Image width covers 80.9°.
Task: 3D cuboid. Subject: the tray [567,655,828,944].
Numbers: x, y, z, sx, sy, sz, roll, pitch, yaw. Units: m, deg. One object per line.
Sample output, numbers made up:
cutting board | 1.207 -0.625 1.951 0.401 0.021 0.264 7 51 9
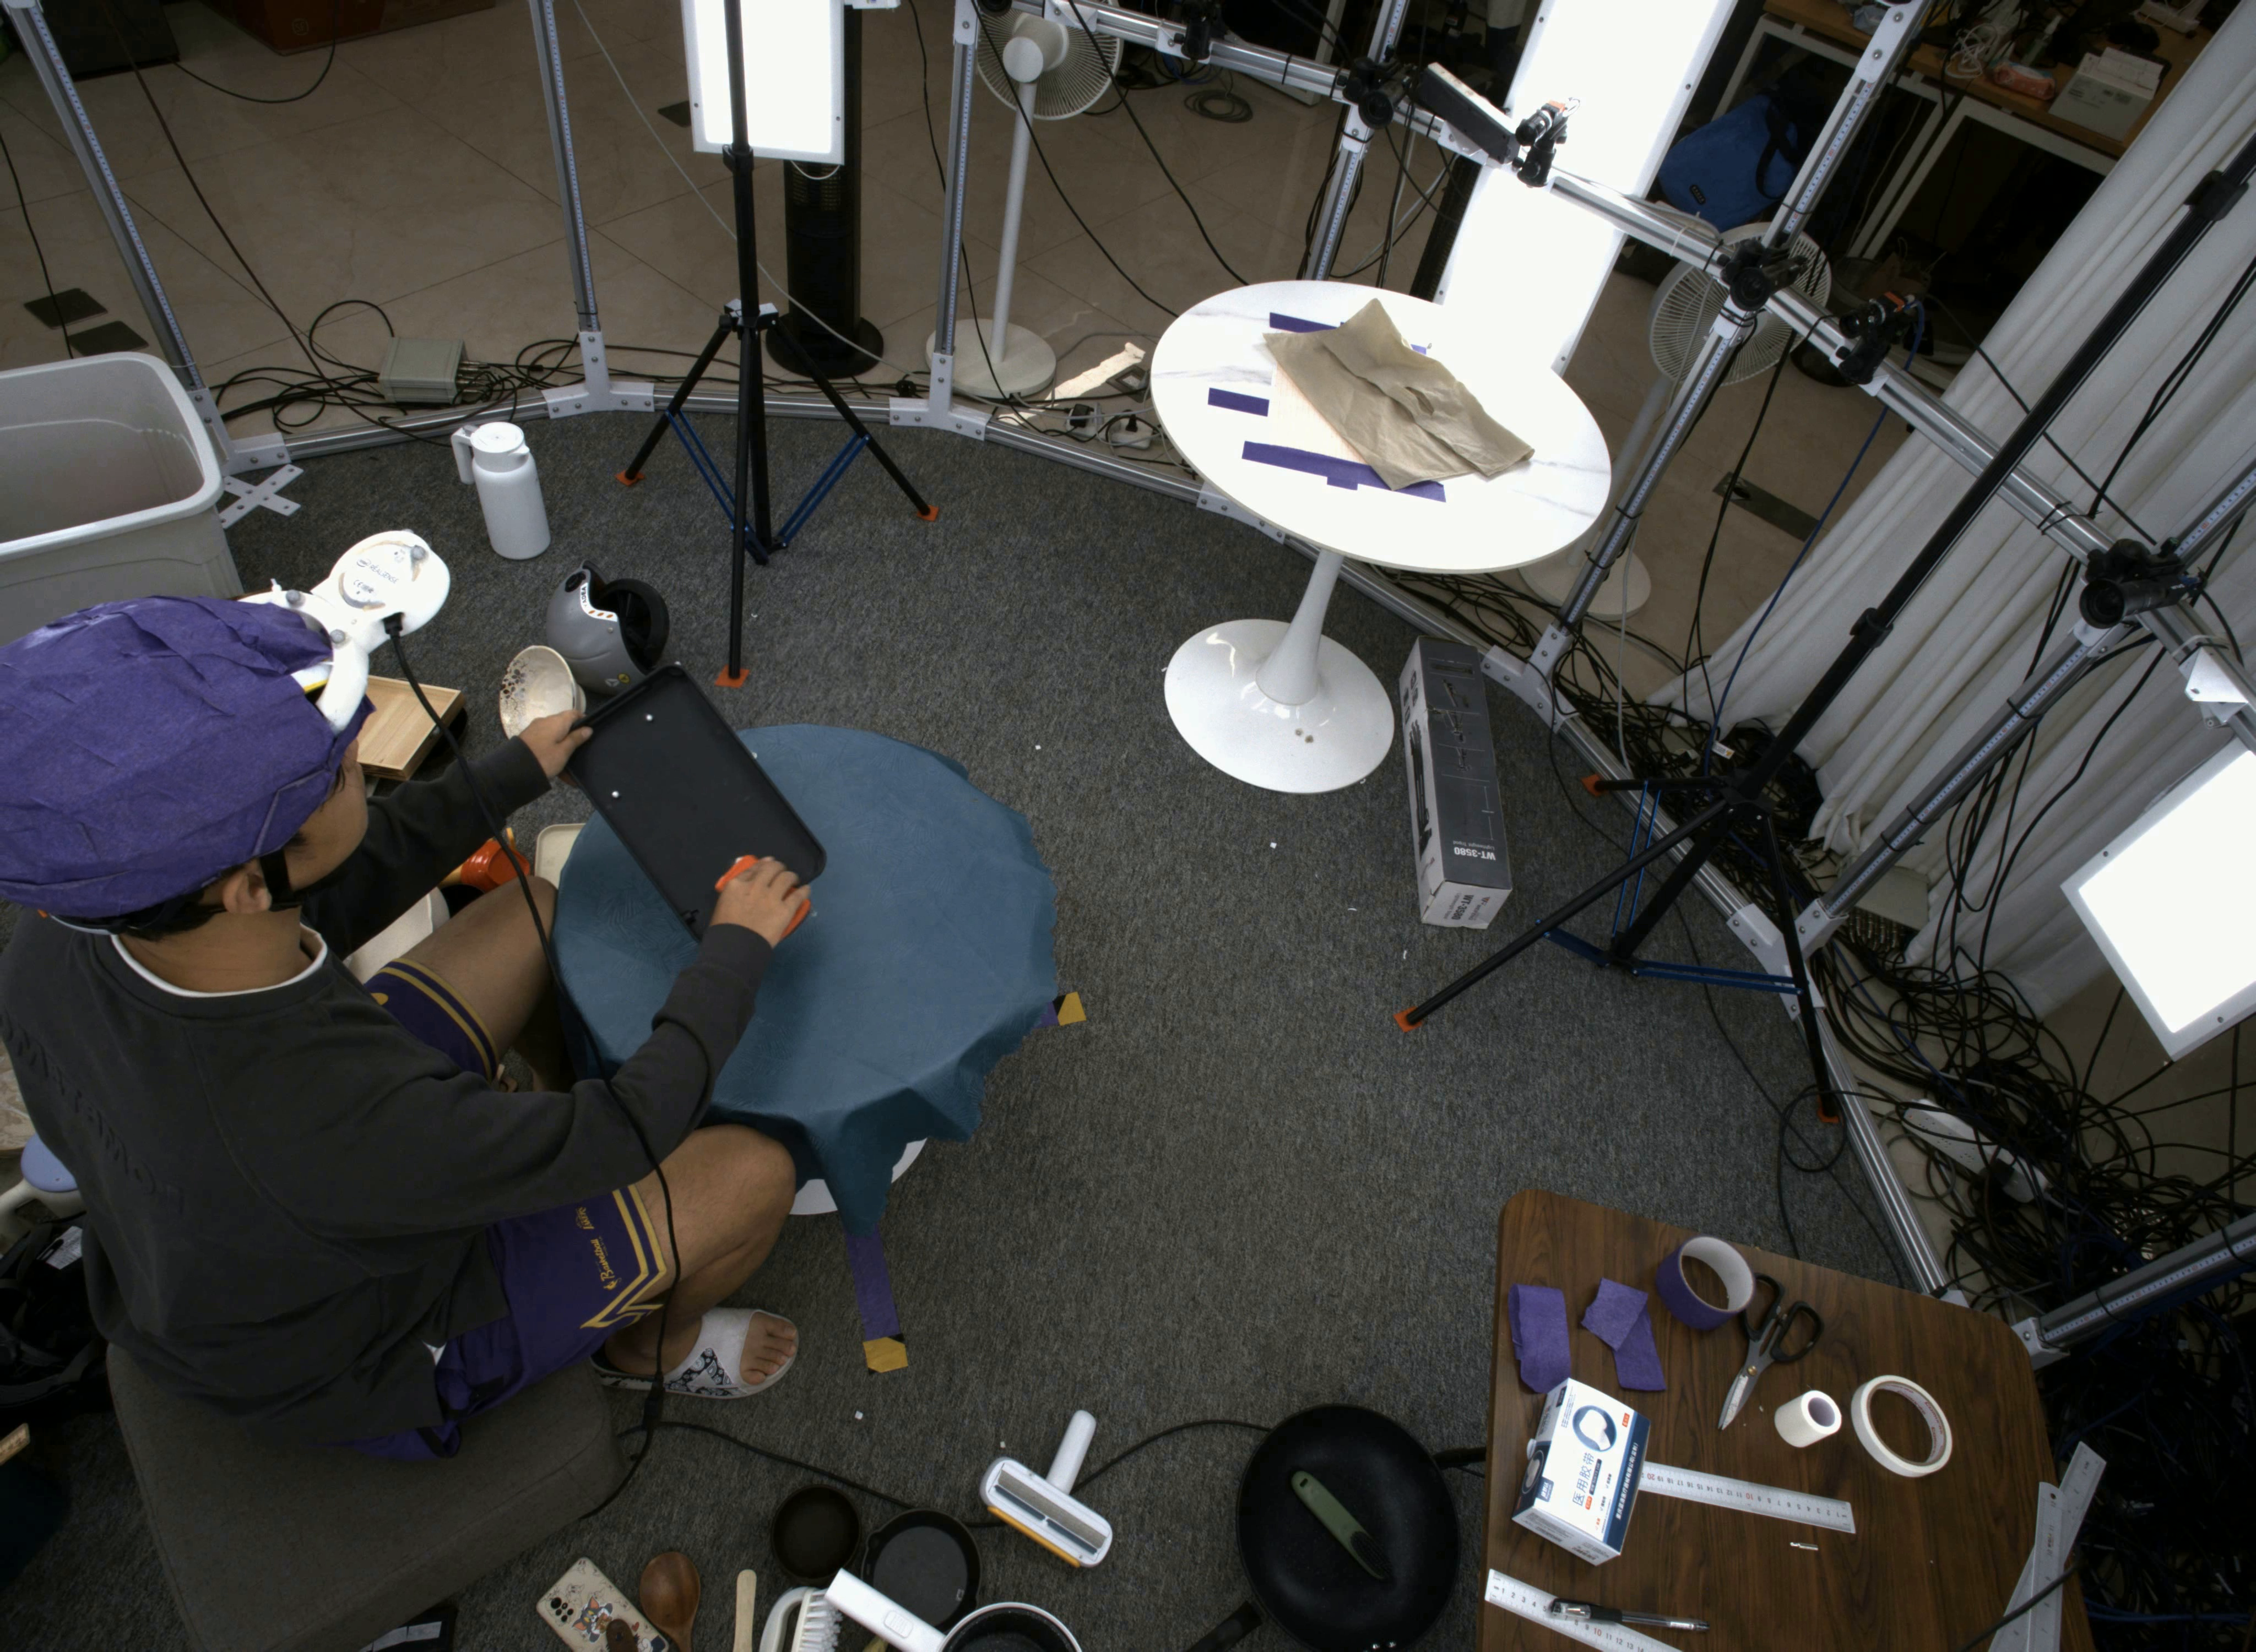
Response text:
tray | -0.518 -0.032 1.536 0.184 0.037 0.319 -39 91 -14

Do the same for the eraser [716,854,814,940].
eraser | -0.423 0.080 1.509 0.106 0.023 0.059 32 78 13
